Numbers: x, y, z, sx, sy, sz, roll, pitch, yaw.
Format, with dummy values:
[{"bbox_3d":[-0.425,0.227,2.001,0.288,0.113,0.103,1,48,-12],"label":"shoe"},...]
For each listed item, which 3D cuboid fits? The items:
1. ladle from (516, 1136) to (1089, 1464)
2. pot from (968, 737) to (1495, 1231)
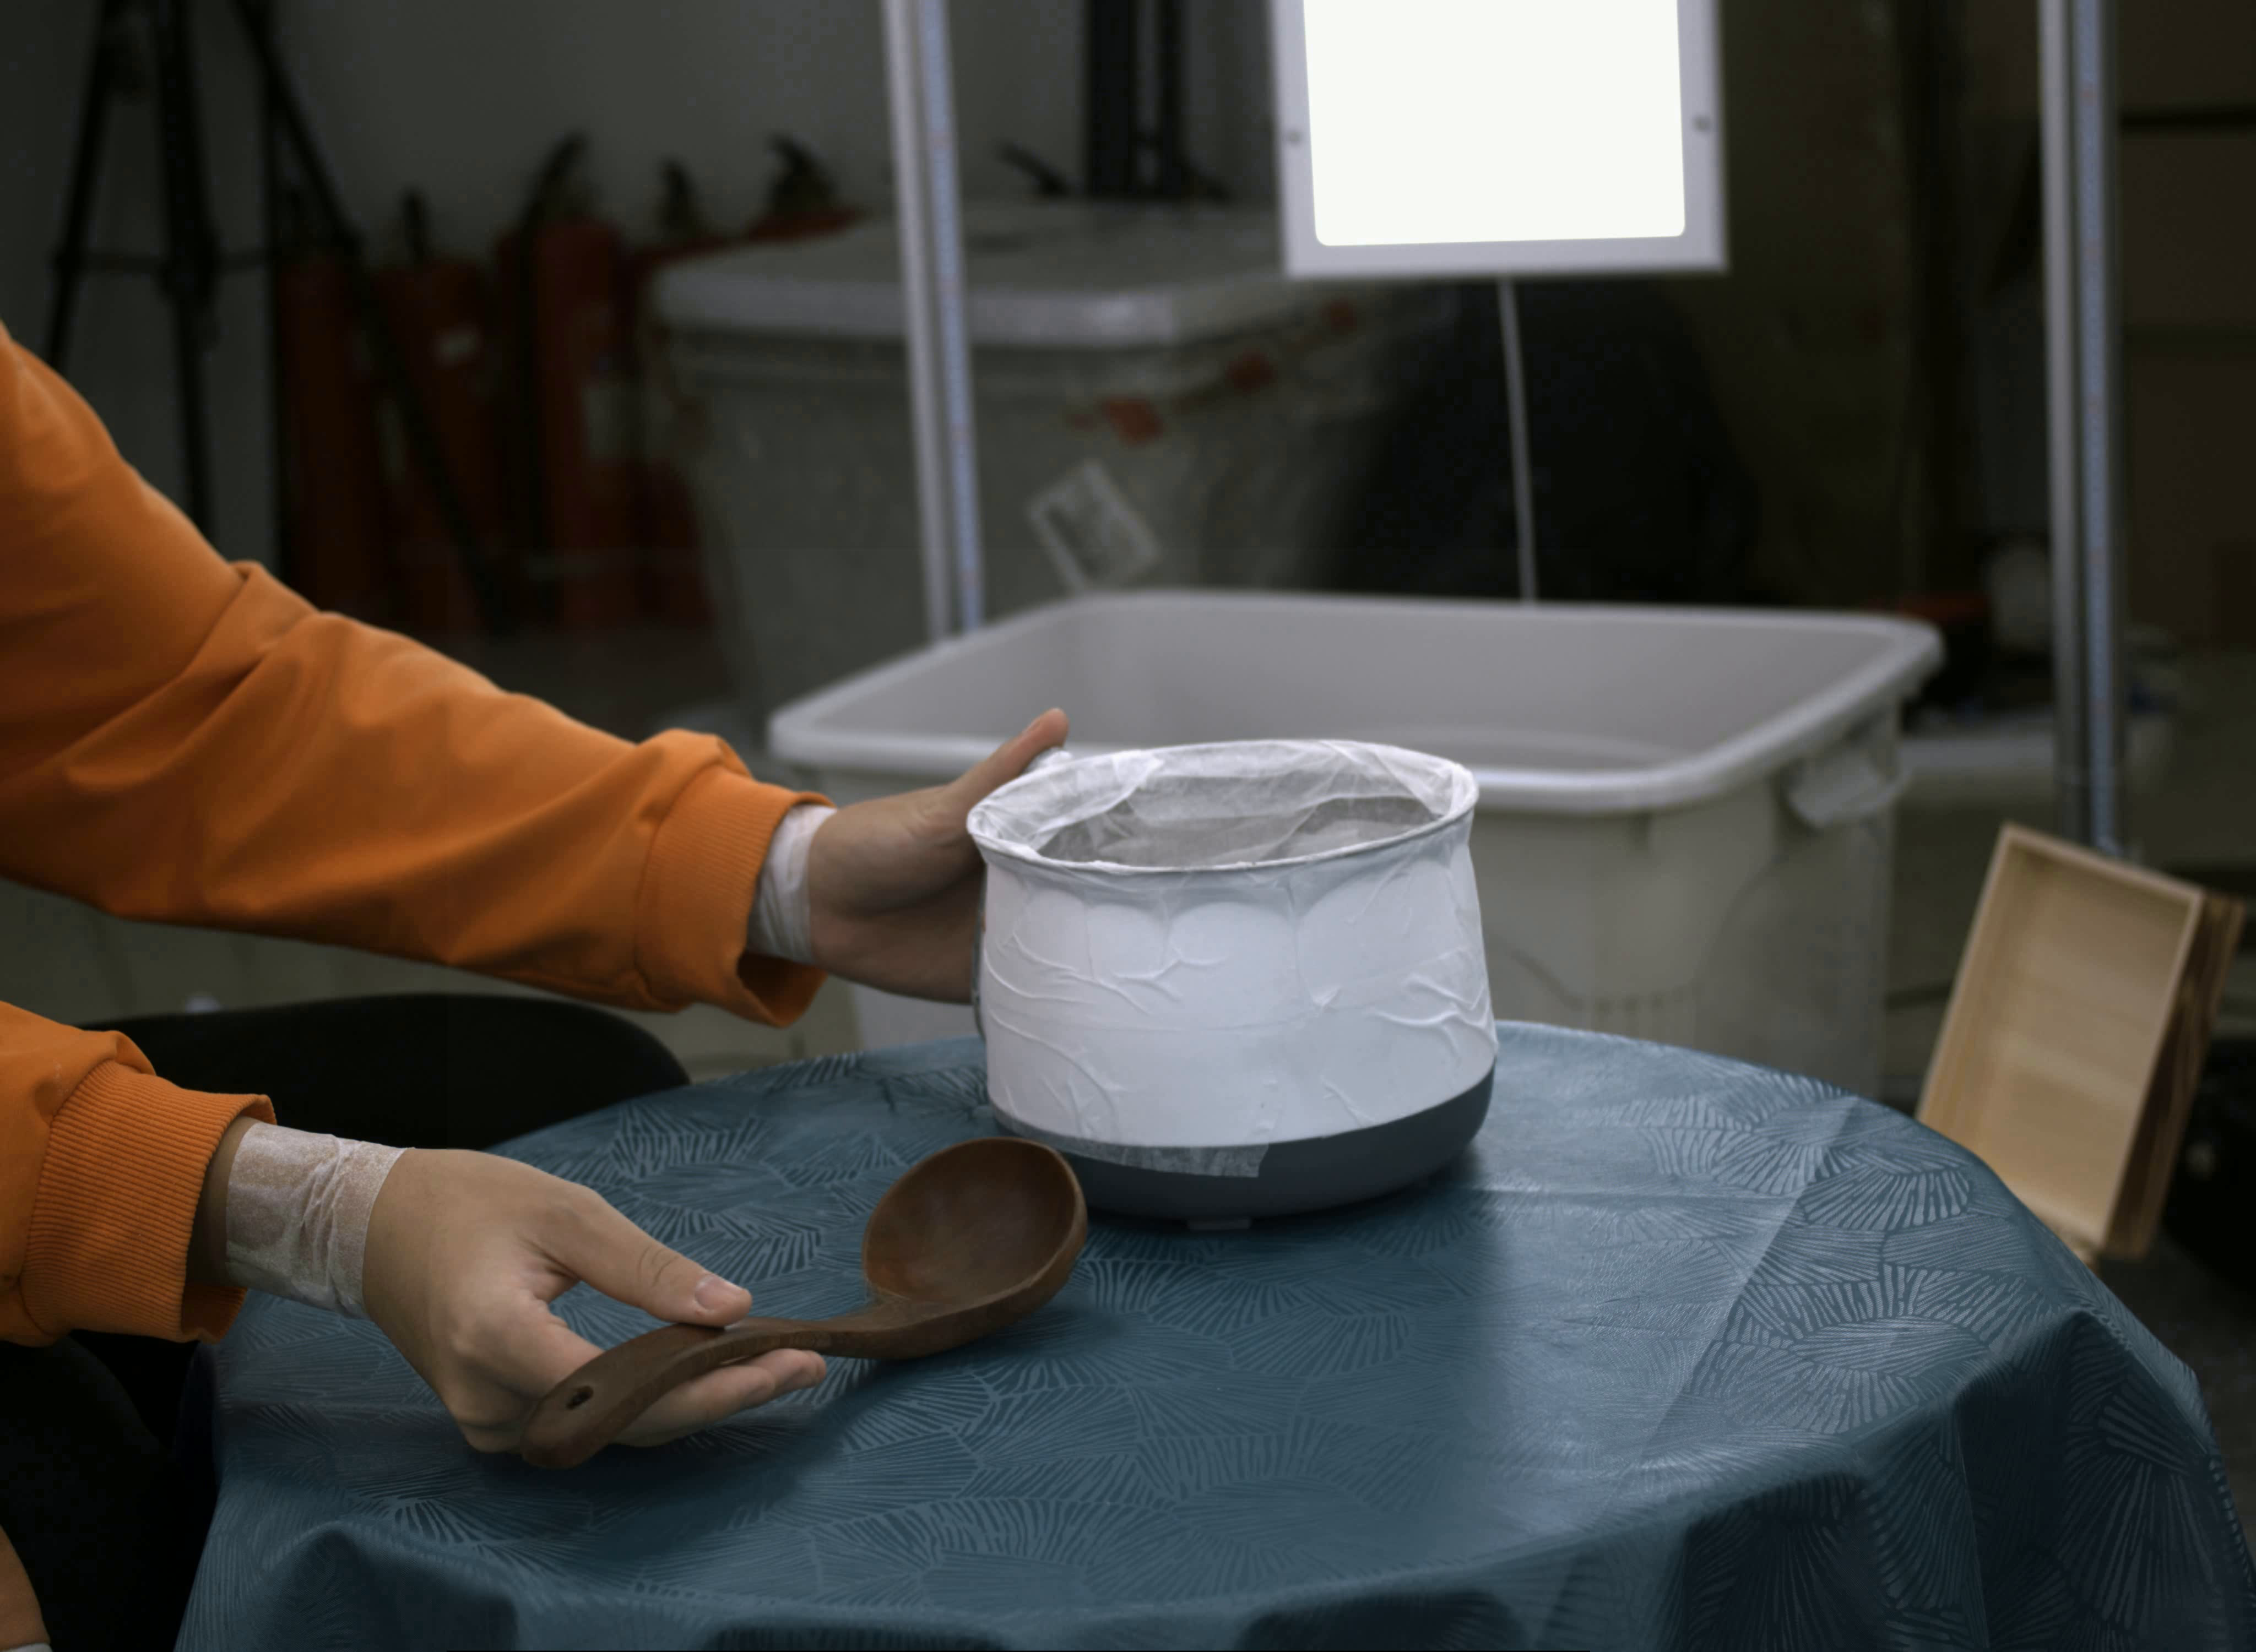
[{"bbox_3d":[-0.101,0.142,1.692,0.078,0.065,0.254,3,6,34],"label":"ladle"},{"bbox_3d":[0.020,0.048,1.918,0.174,0.137,0.238,-14,17,-34],"label":"pot"}]
